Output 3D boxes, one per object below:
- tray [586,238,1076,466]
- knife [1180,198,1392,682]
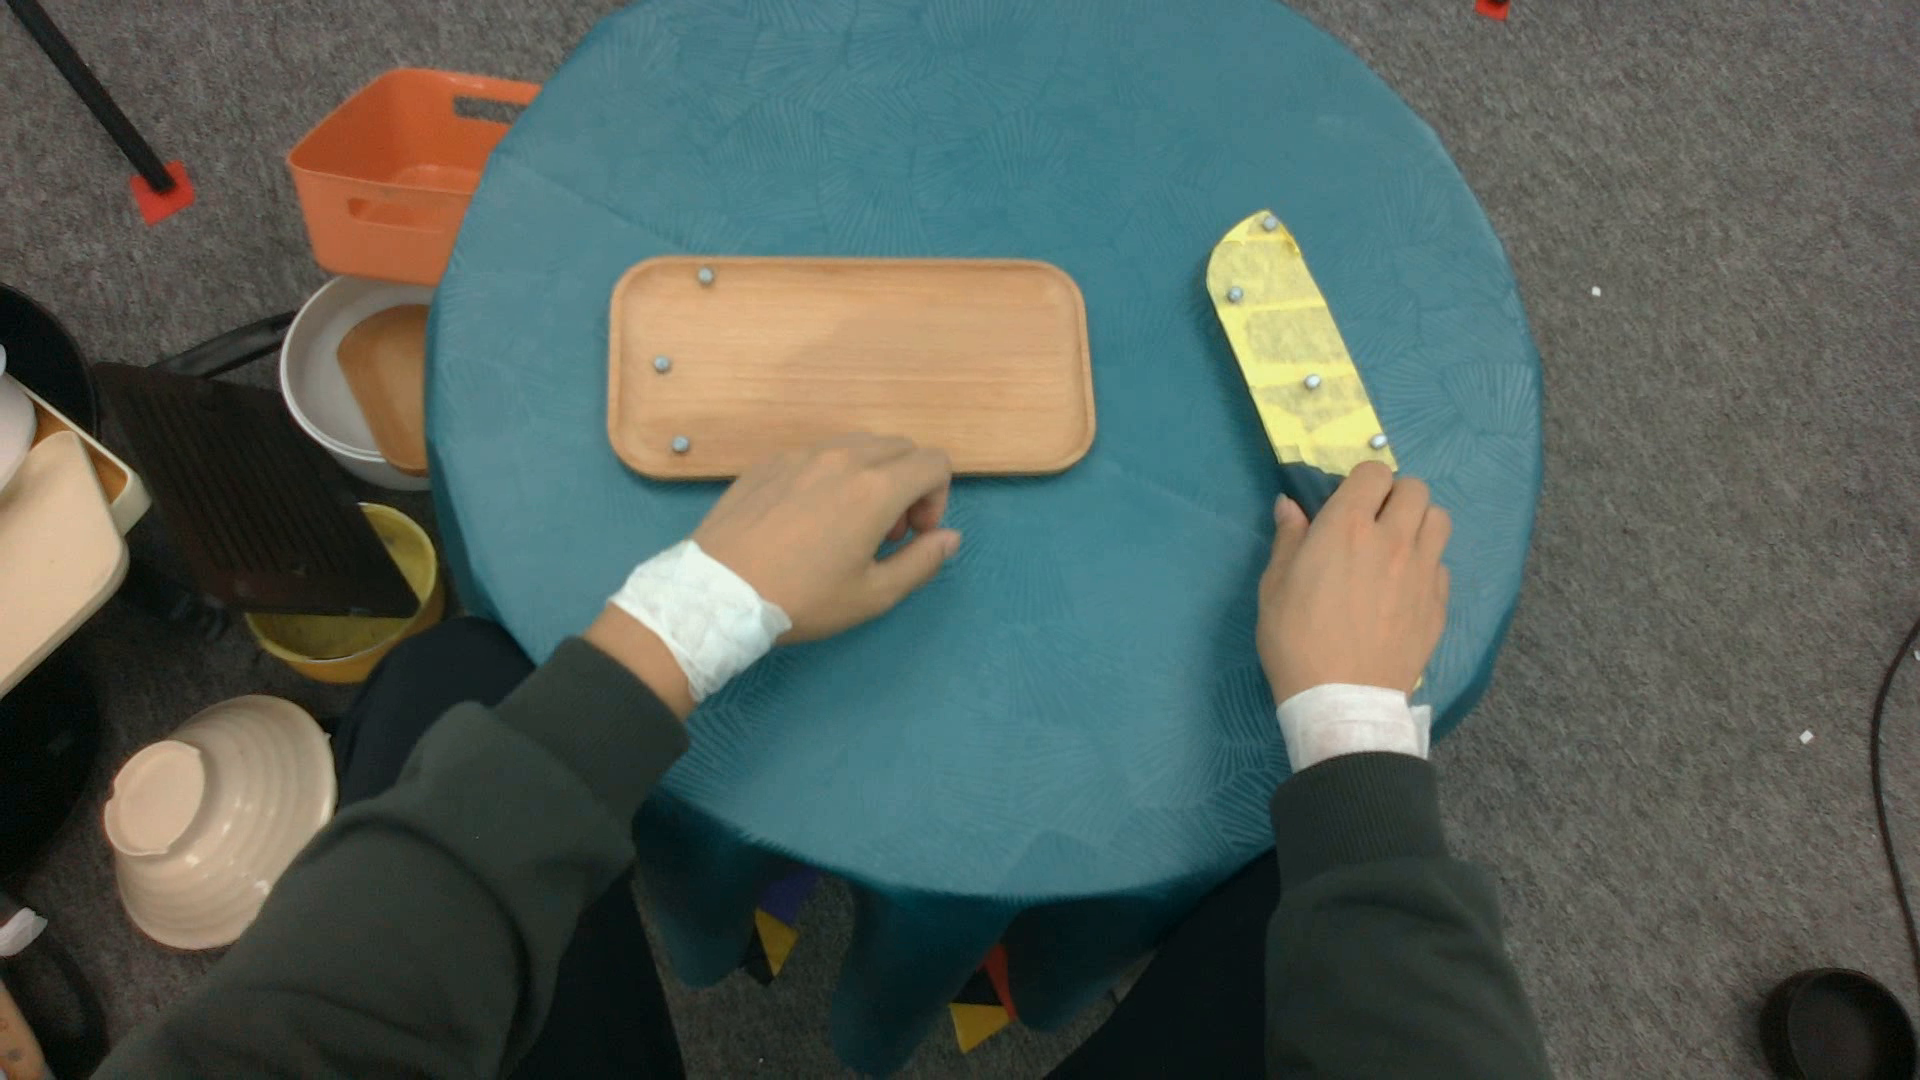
[{"bbox_3d":[-0.067,-0.100,0.724,0.251,0.023,0.131,-1,72,-8],"label":"tray"},{"bbox_3d":[0.180,-0.063,0.736,0.081,0.027,0.290,-4,68,-27],"label":"knife"}]
